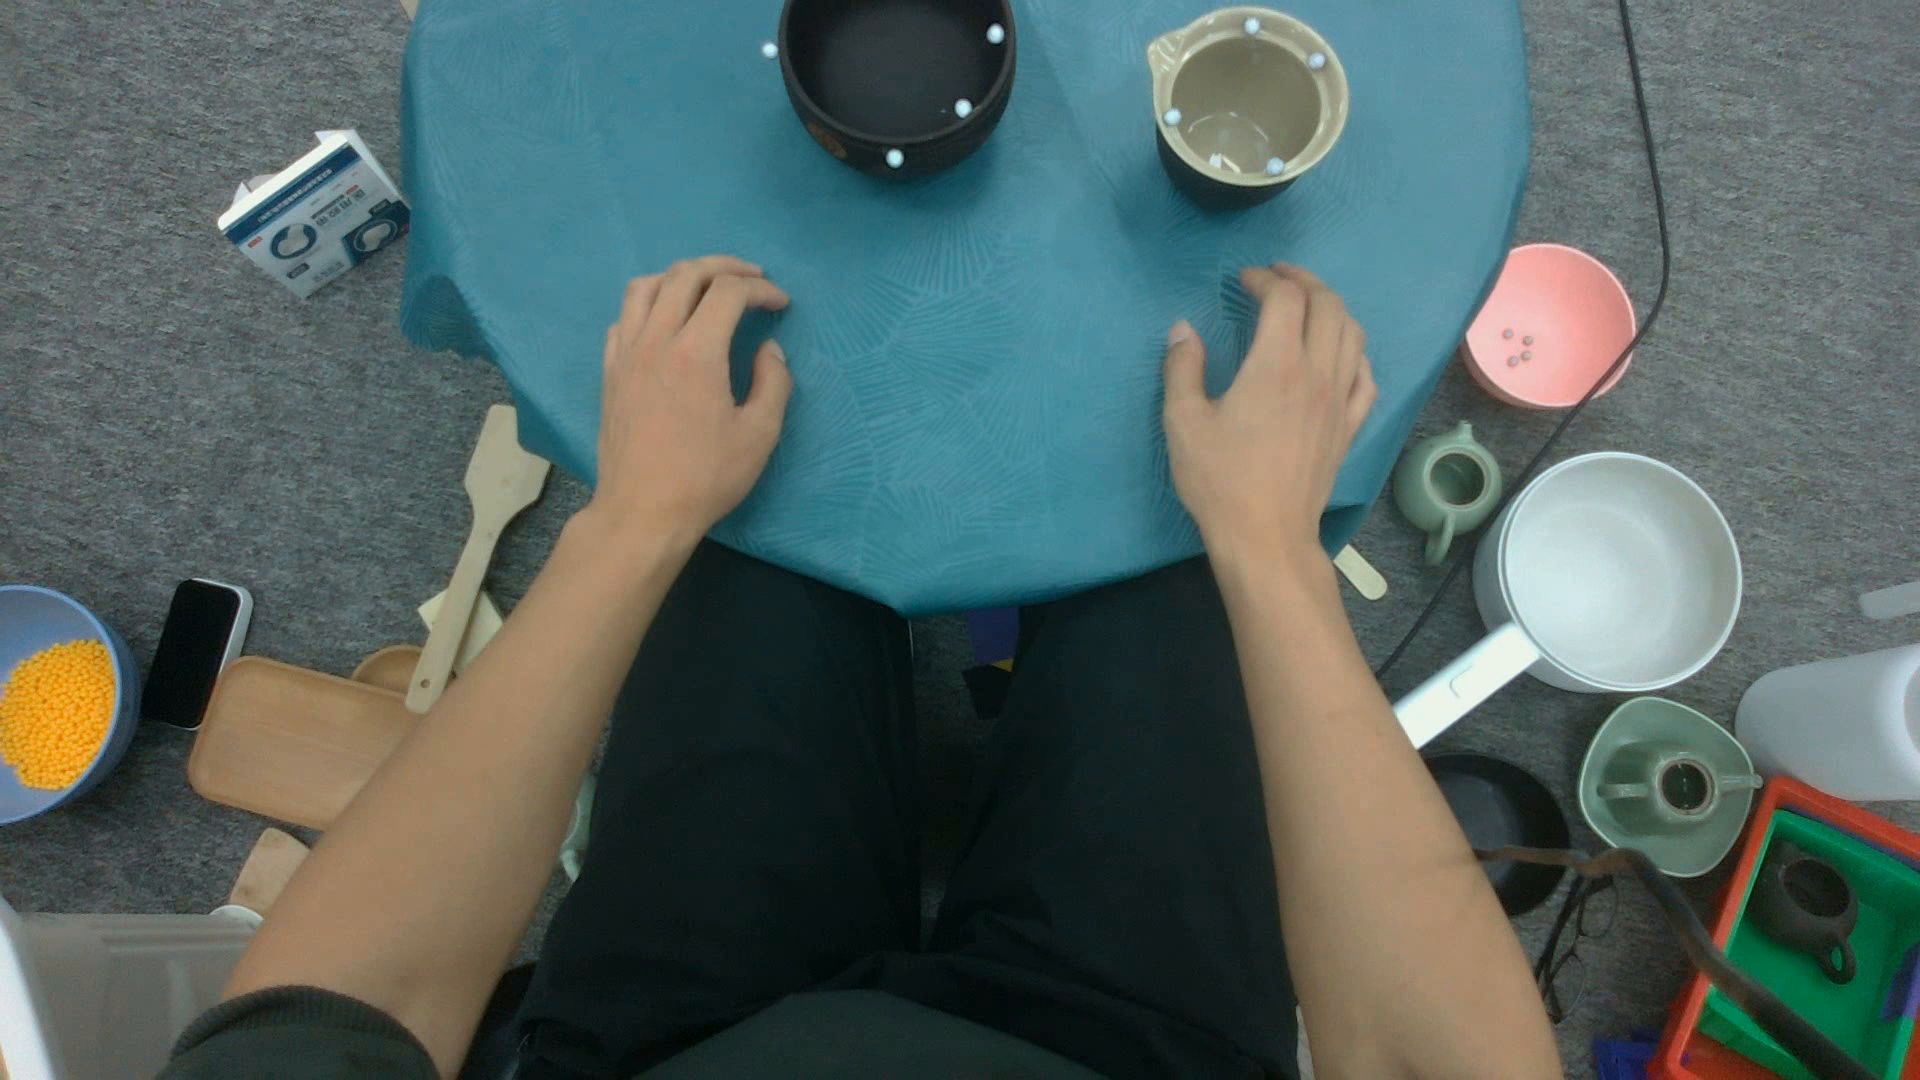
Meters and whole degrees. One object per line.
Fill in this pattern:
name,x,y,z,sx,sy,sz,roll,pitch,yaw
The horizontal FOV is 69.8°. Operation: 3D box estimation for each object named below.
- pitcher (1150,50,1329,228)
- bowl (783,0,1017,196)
pitcher,0.136,-0.203,0.708,0.096,0.071,0.084,35,82,6
bowl,-0.030,-0.233,0.717,0.118,0.069,0.118,0,77,0
